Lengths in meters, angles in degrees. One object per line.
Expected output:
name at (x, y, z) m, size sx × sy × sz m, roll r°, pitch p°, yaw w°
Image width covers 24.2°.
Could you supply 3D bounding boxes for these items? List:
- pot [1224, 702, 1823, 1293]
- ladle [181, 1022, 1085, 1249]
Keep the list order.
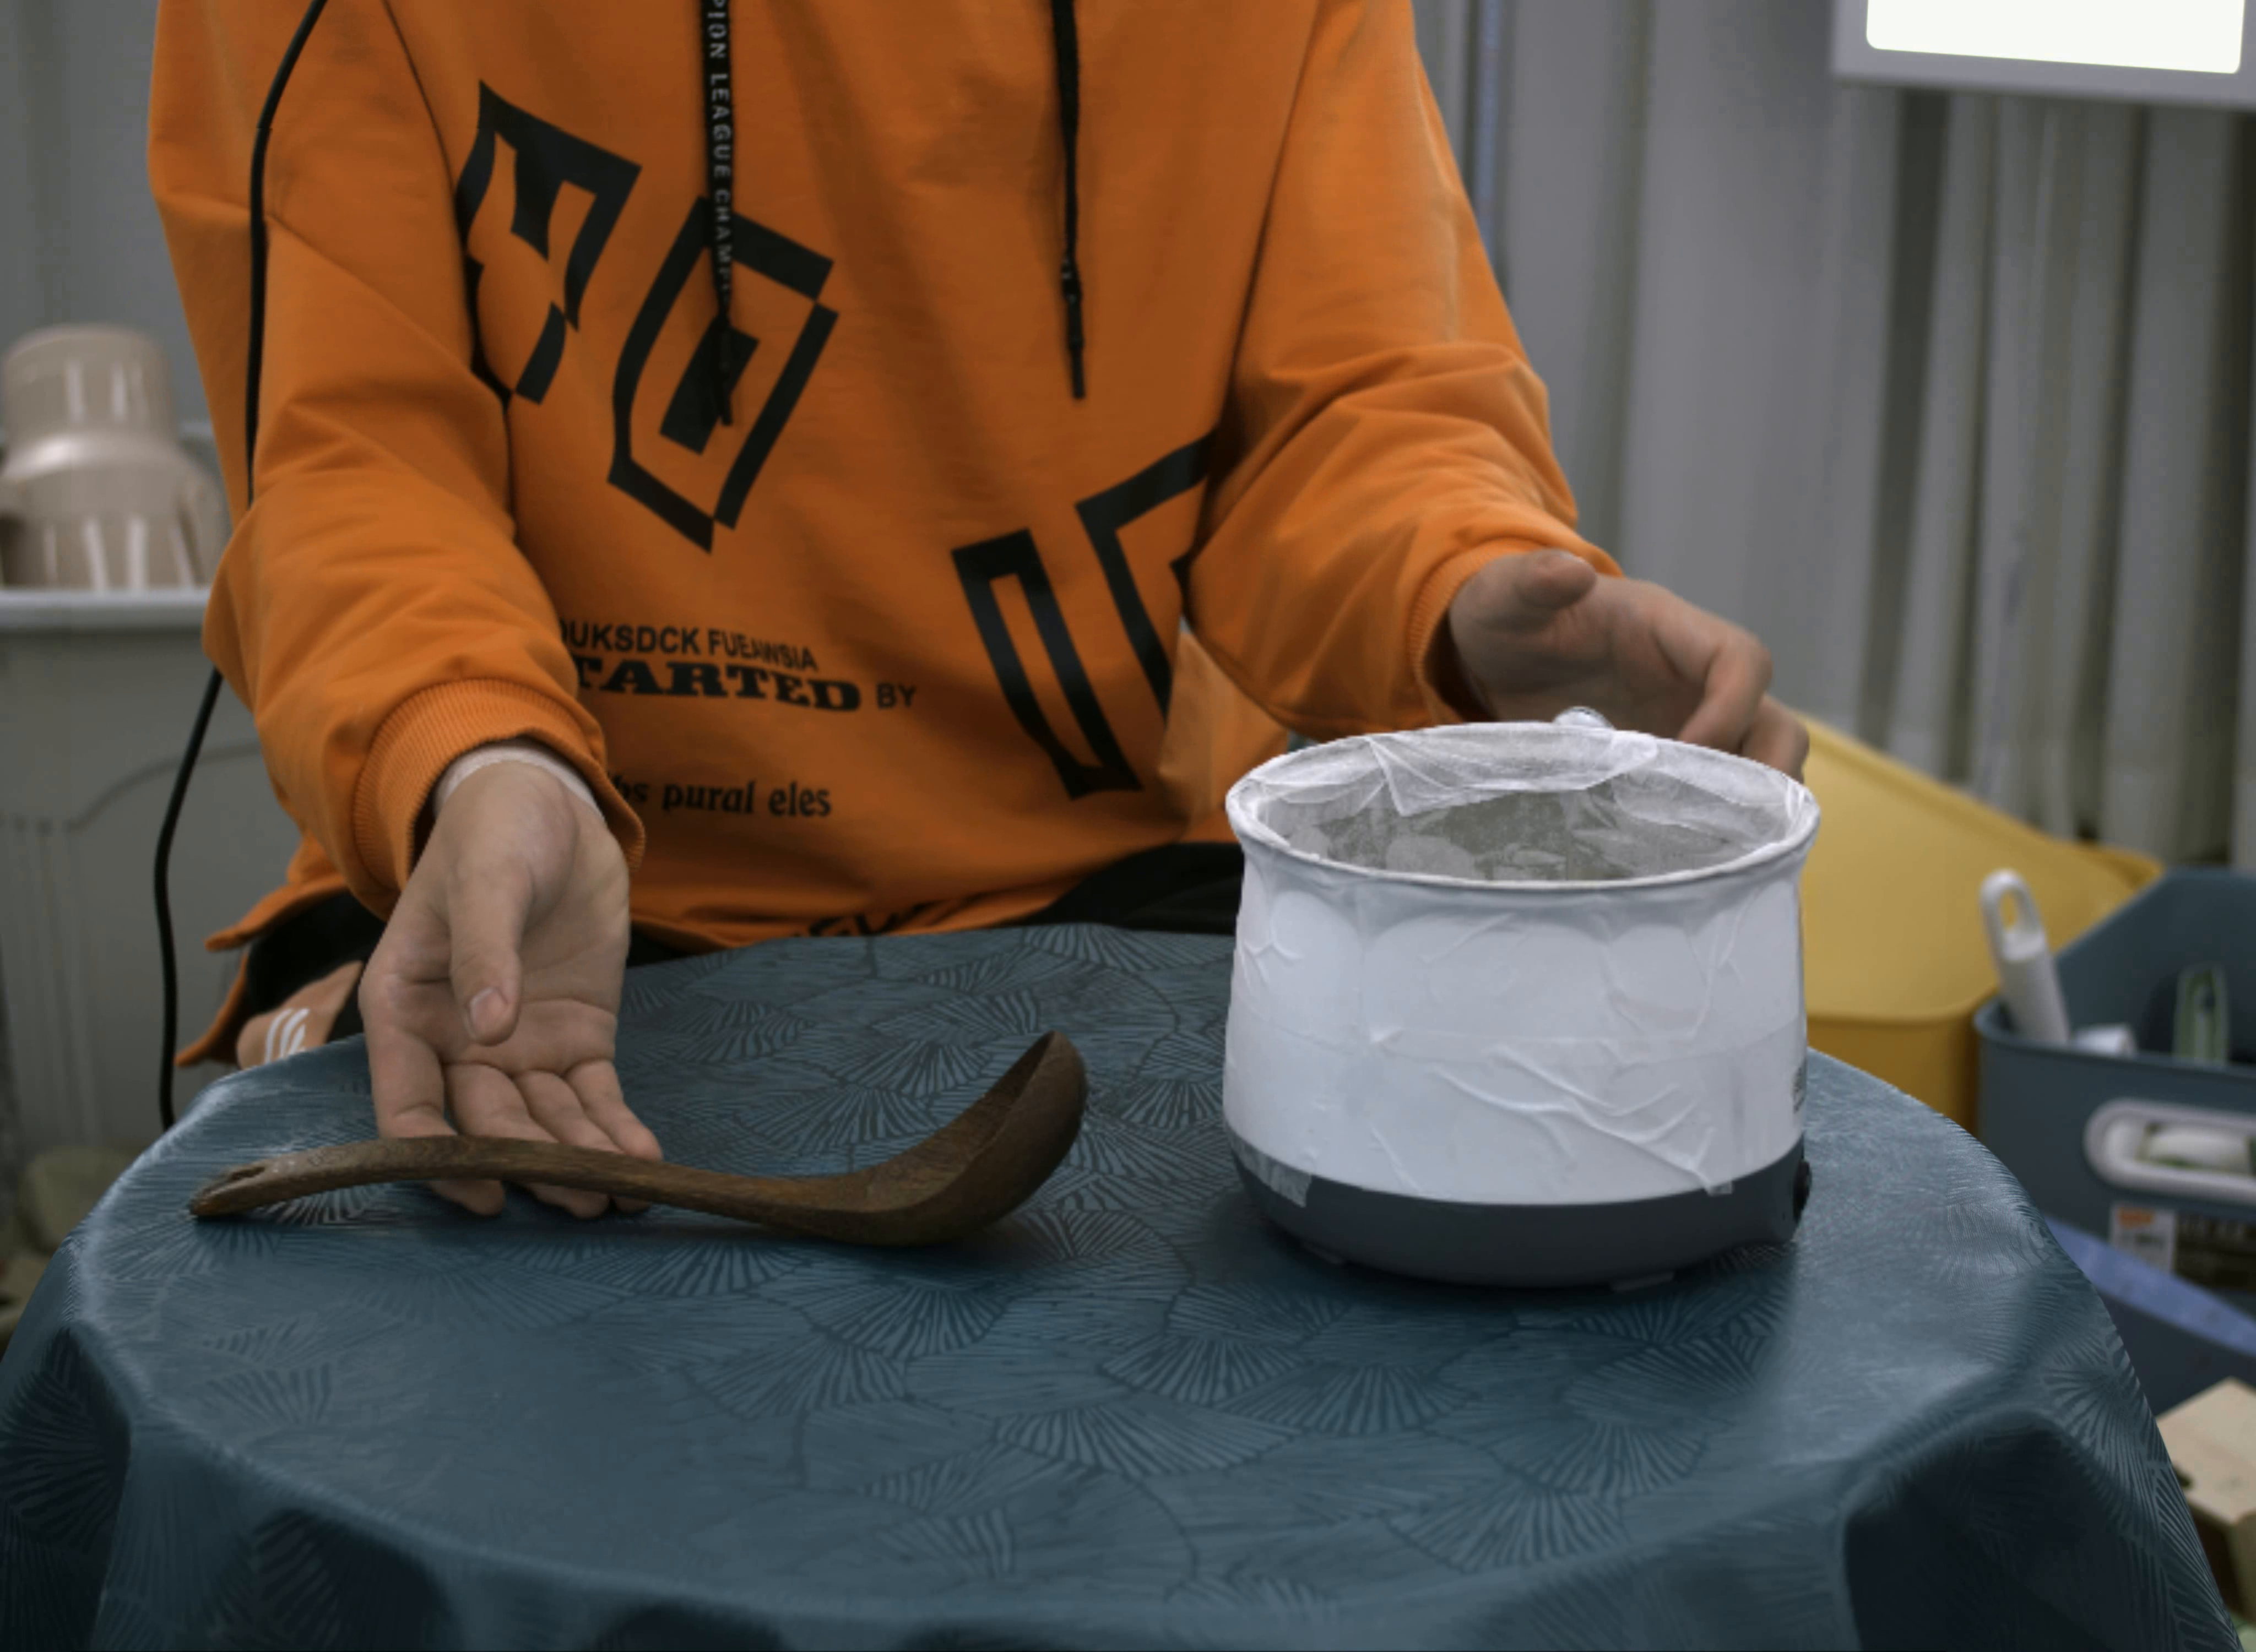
pot at (0.123, 0.046, 1.608) m, size 0.177 × 0.138 × 0.233 m, roll 4°, pitch 17°, yaw 12°
ladle at (-0.149, 0.088, 1.576) m, size 0.273 × 0.072 × 0.076 m, roll 3°, pitch 13°, yaw 5°
